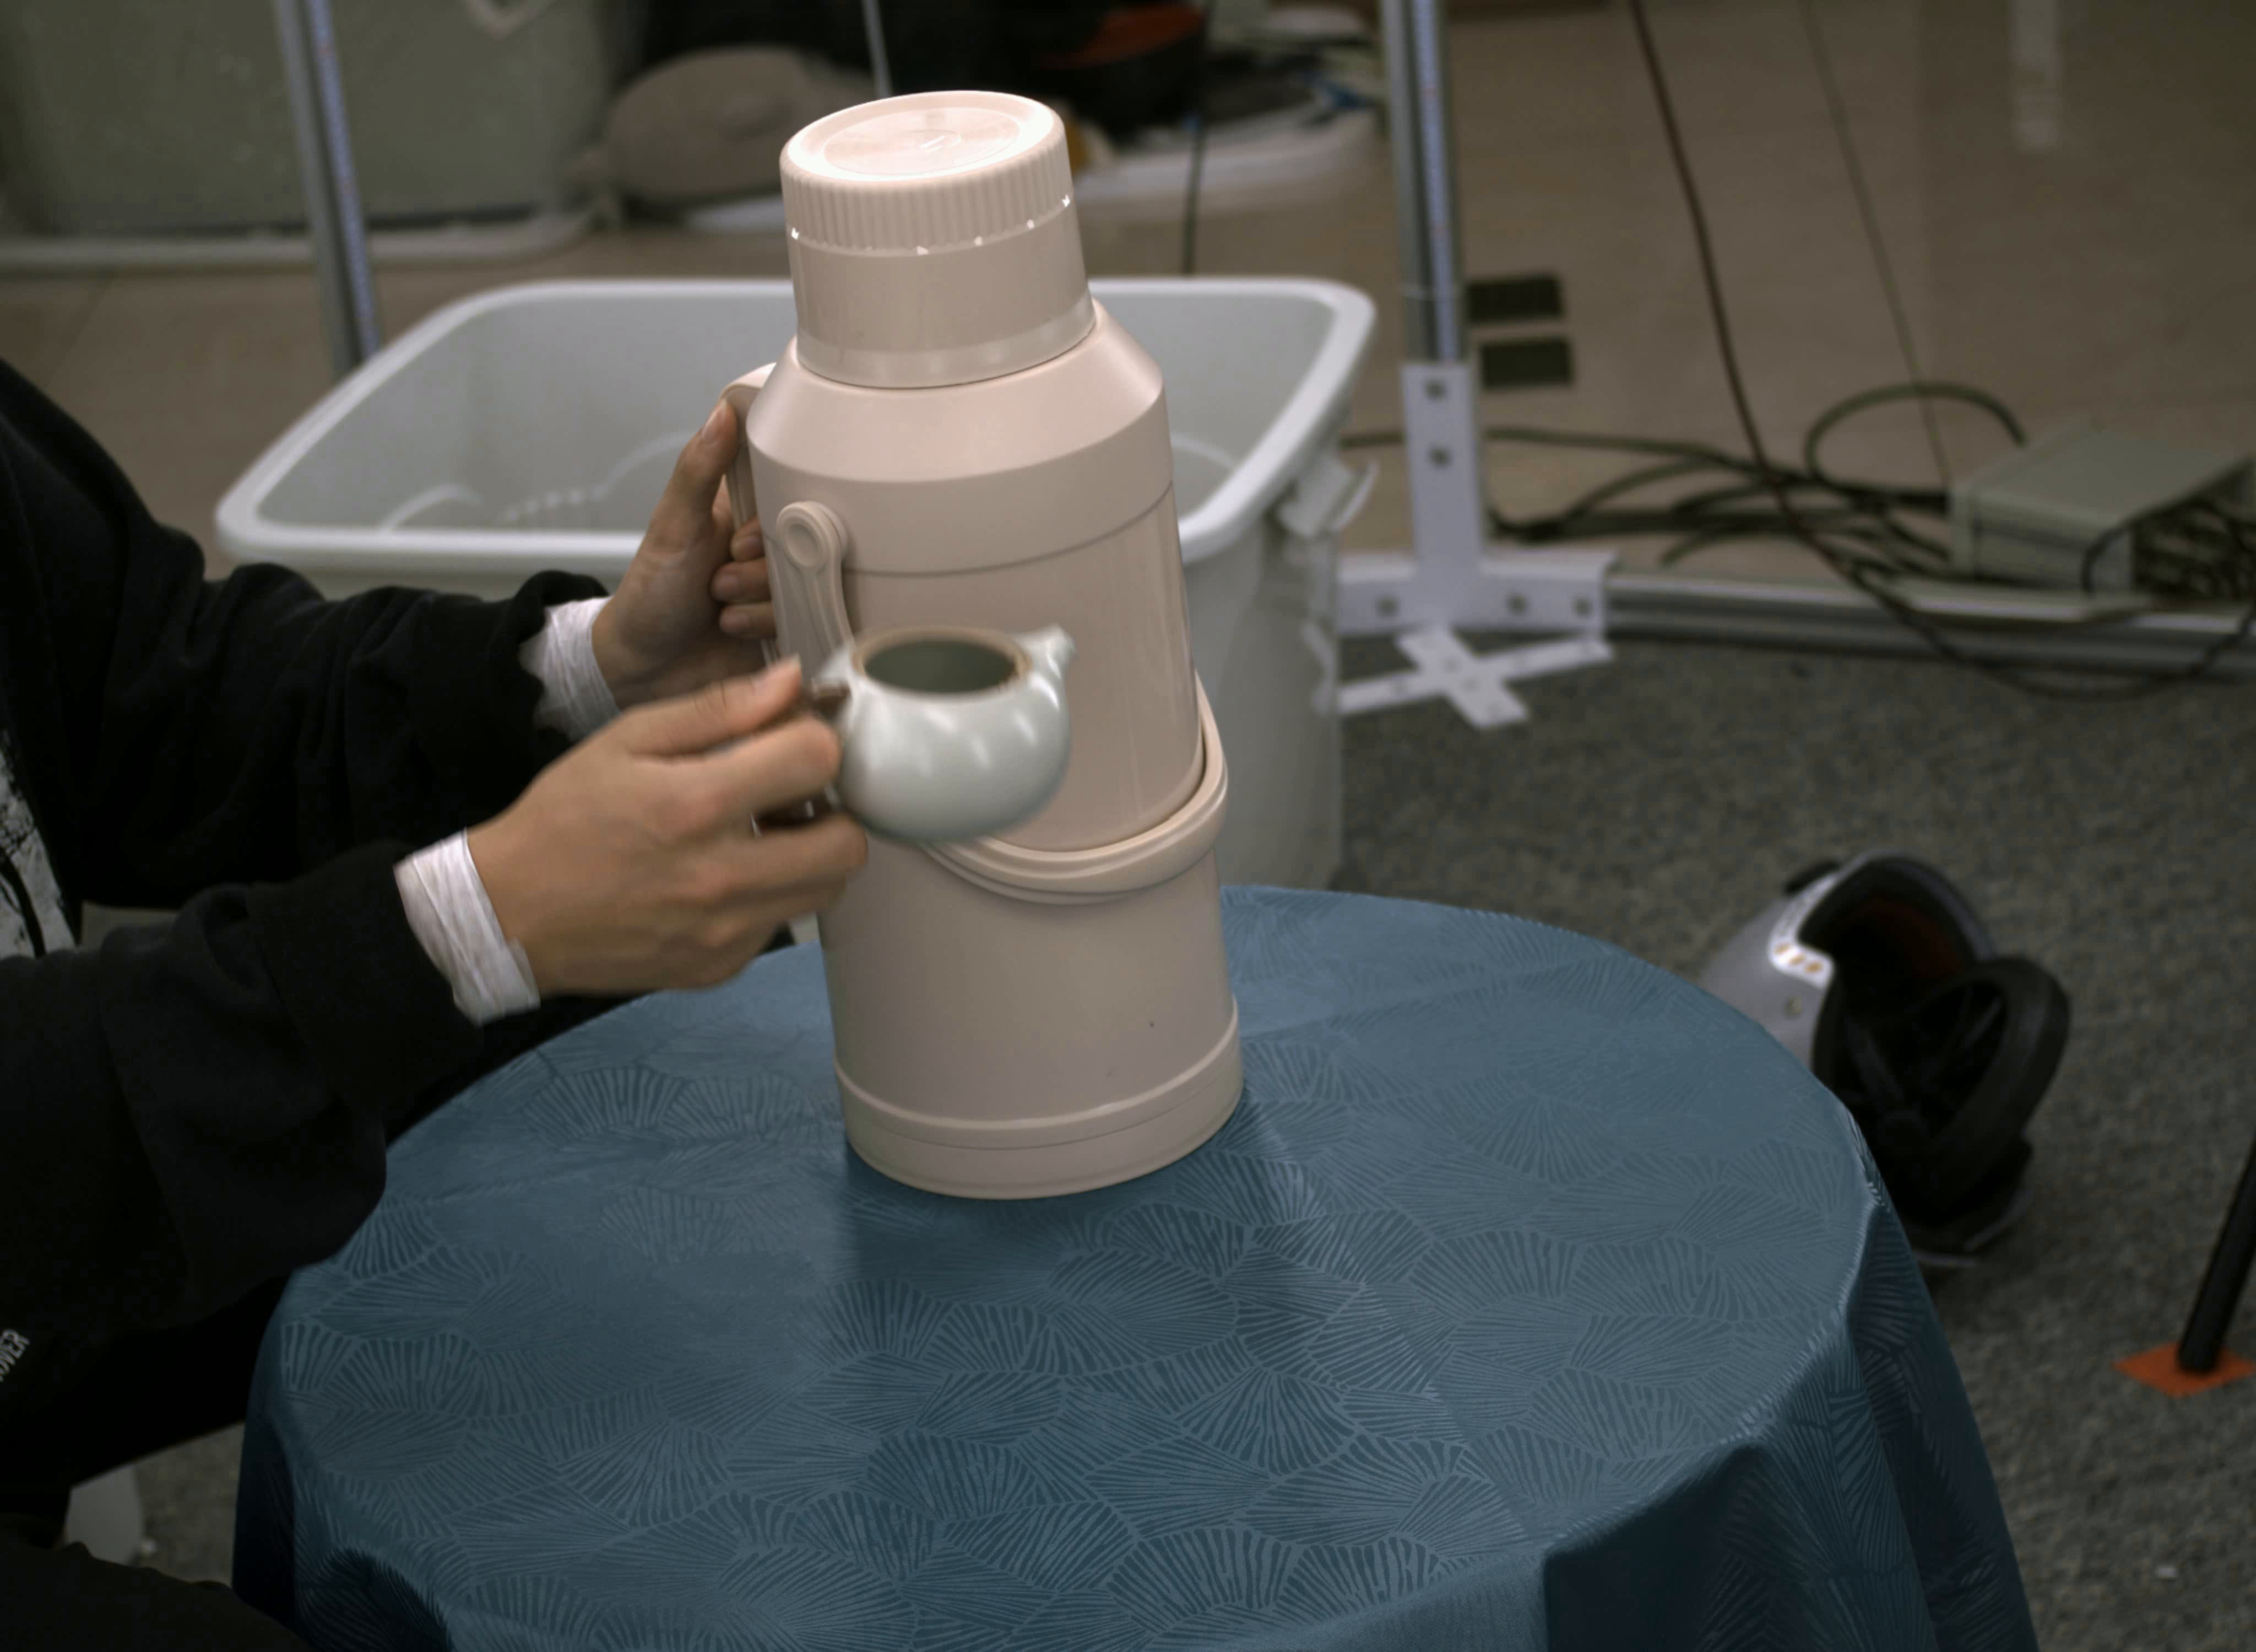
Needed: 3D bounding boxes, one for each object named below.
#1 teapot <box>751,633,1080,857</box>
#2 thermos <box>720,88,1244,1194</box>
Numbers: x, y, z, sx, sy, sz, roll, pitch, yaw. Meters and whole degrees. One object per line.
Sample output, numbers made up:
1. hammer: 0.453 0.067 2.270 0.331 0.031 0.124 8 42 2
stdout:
1. teapot: -0.071 -0.026 1.914 0.127 0.060 0.090 -14 33 -32
2. thermos: -0.063 -0.074 2.143 0.205 0.413 0.173 16 36 37
